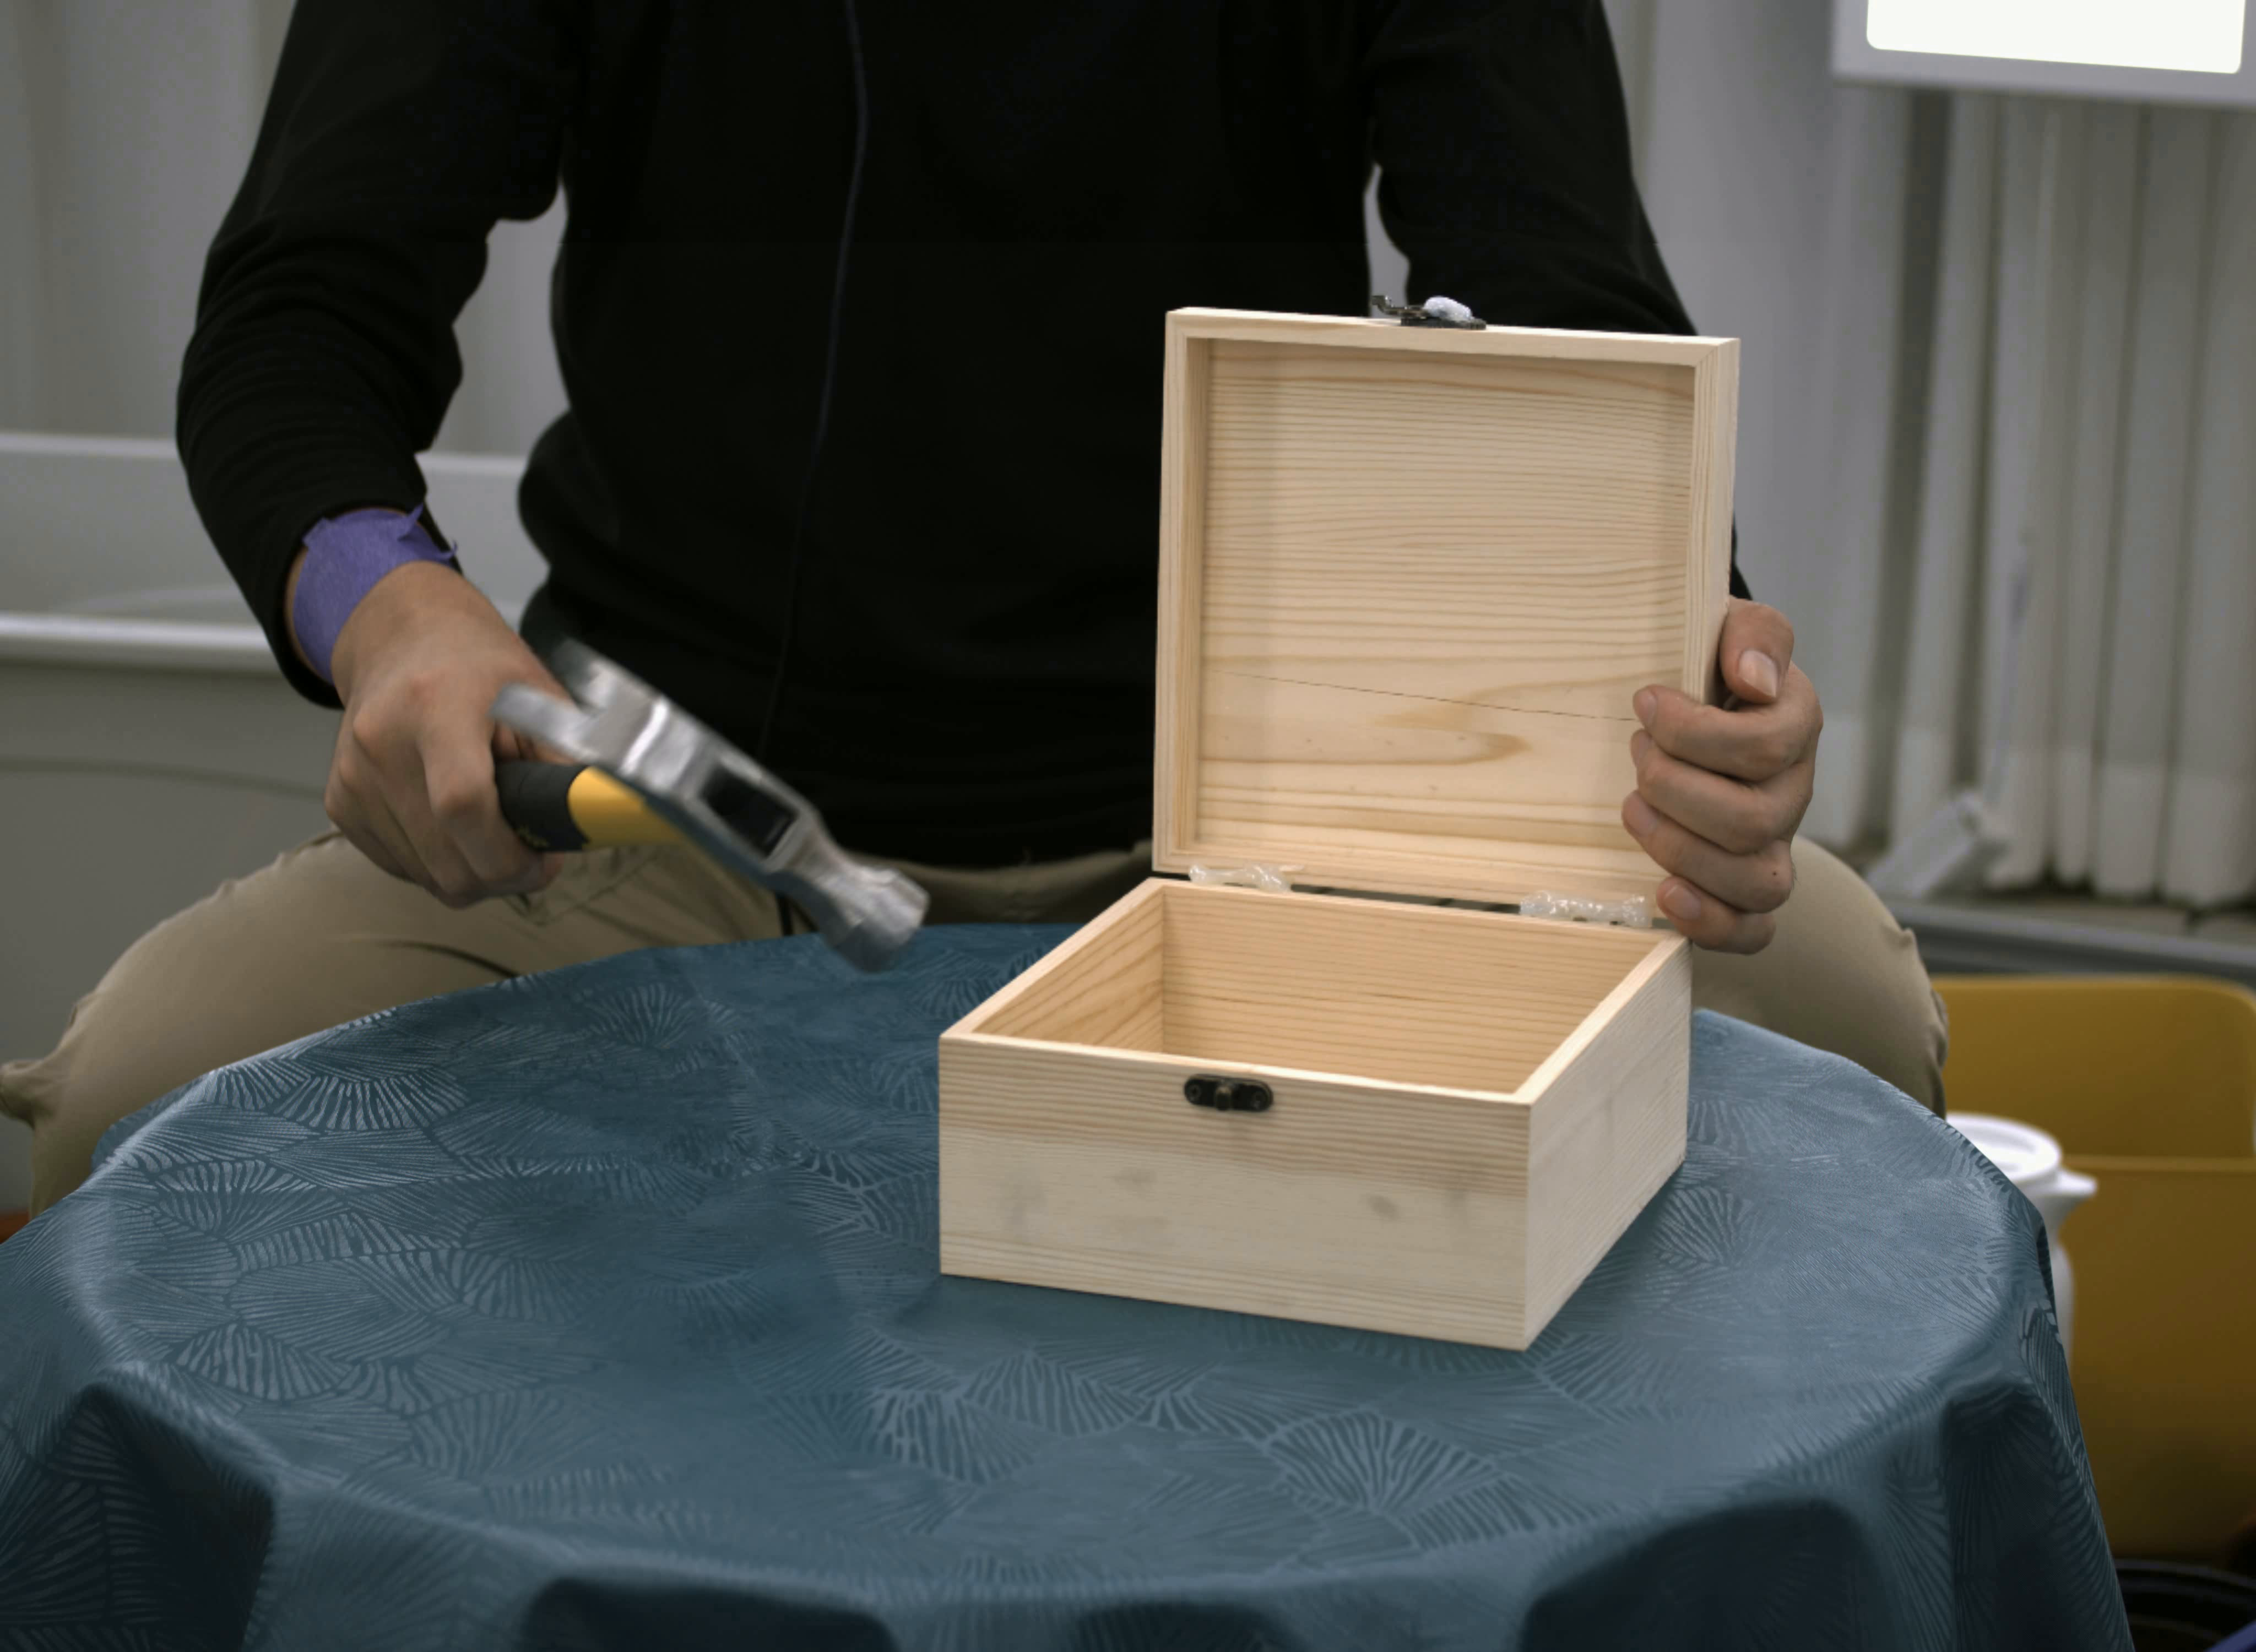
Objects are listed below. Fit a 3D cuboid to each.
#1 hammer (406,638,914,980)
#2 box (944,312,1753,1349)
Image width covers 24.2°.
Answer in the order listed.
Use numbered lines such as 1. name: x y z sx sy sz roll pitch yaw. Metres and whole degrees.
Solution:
1. hammer: -0.173 -0.005 1.660 0.132 0.032 0.336 37 -12 -17
2. box: 0.071 -0.010 1.597 0.180 0.255 0.265 4 17 19
